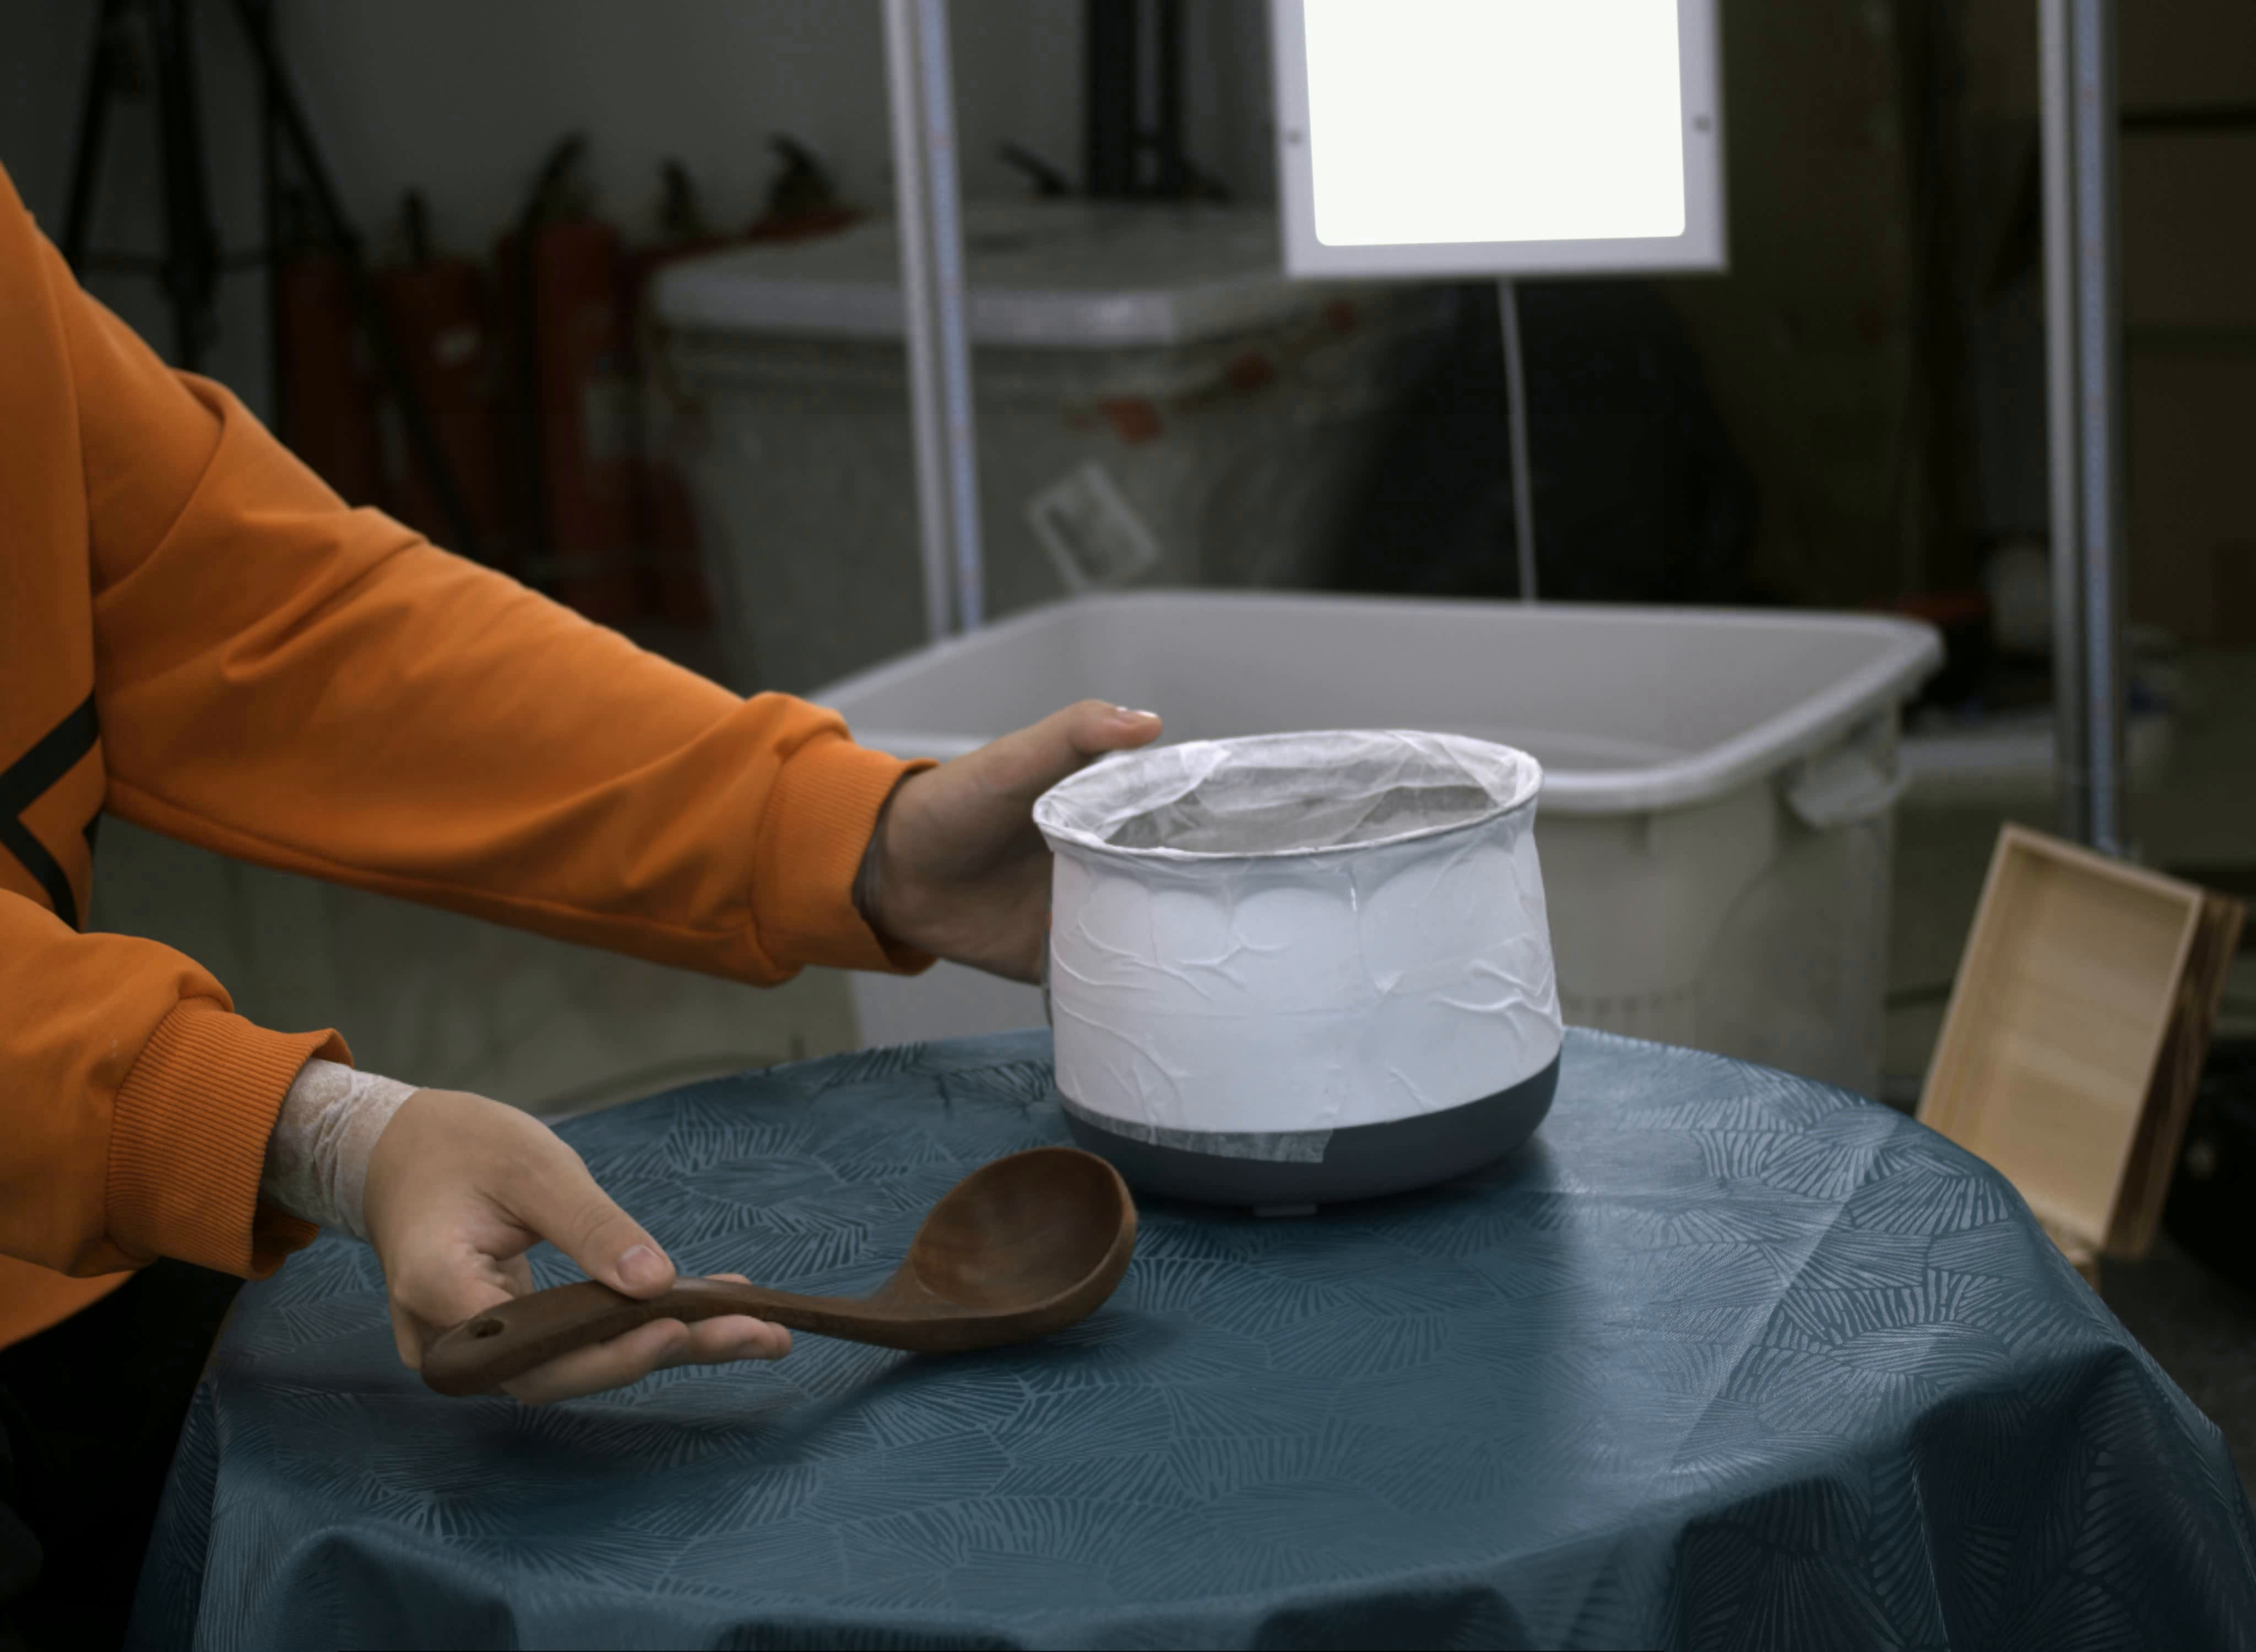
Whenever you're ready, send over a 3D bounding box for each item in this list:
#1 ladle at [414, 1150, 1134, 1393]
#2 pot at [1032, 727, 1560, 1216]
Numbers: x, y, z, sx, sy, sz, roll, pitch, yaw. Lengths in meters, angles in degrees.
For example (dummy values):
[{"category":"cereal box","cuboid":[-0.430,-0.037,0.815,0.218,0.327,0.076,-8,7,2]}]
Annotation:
[{"category":"ladle","cuboid":[-0.106,0.136,1.698,0.253,0.065,0.078,1,13,-40]},{"category":"pot","cuboid":[0.043,0.044,1.924,0.174,0.137,0.238,-14,16,-33]}]
